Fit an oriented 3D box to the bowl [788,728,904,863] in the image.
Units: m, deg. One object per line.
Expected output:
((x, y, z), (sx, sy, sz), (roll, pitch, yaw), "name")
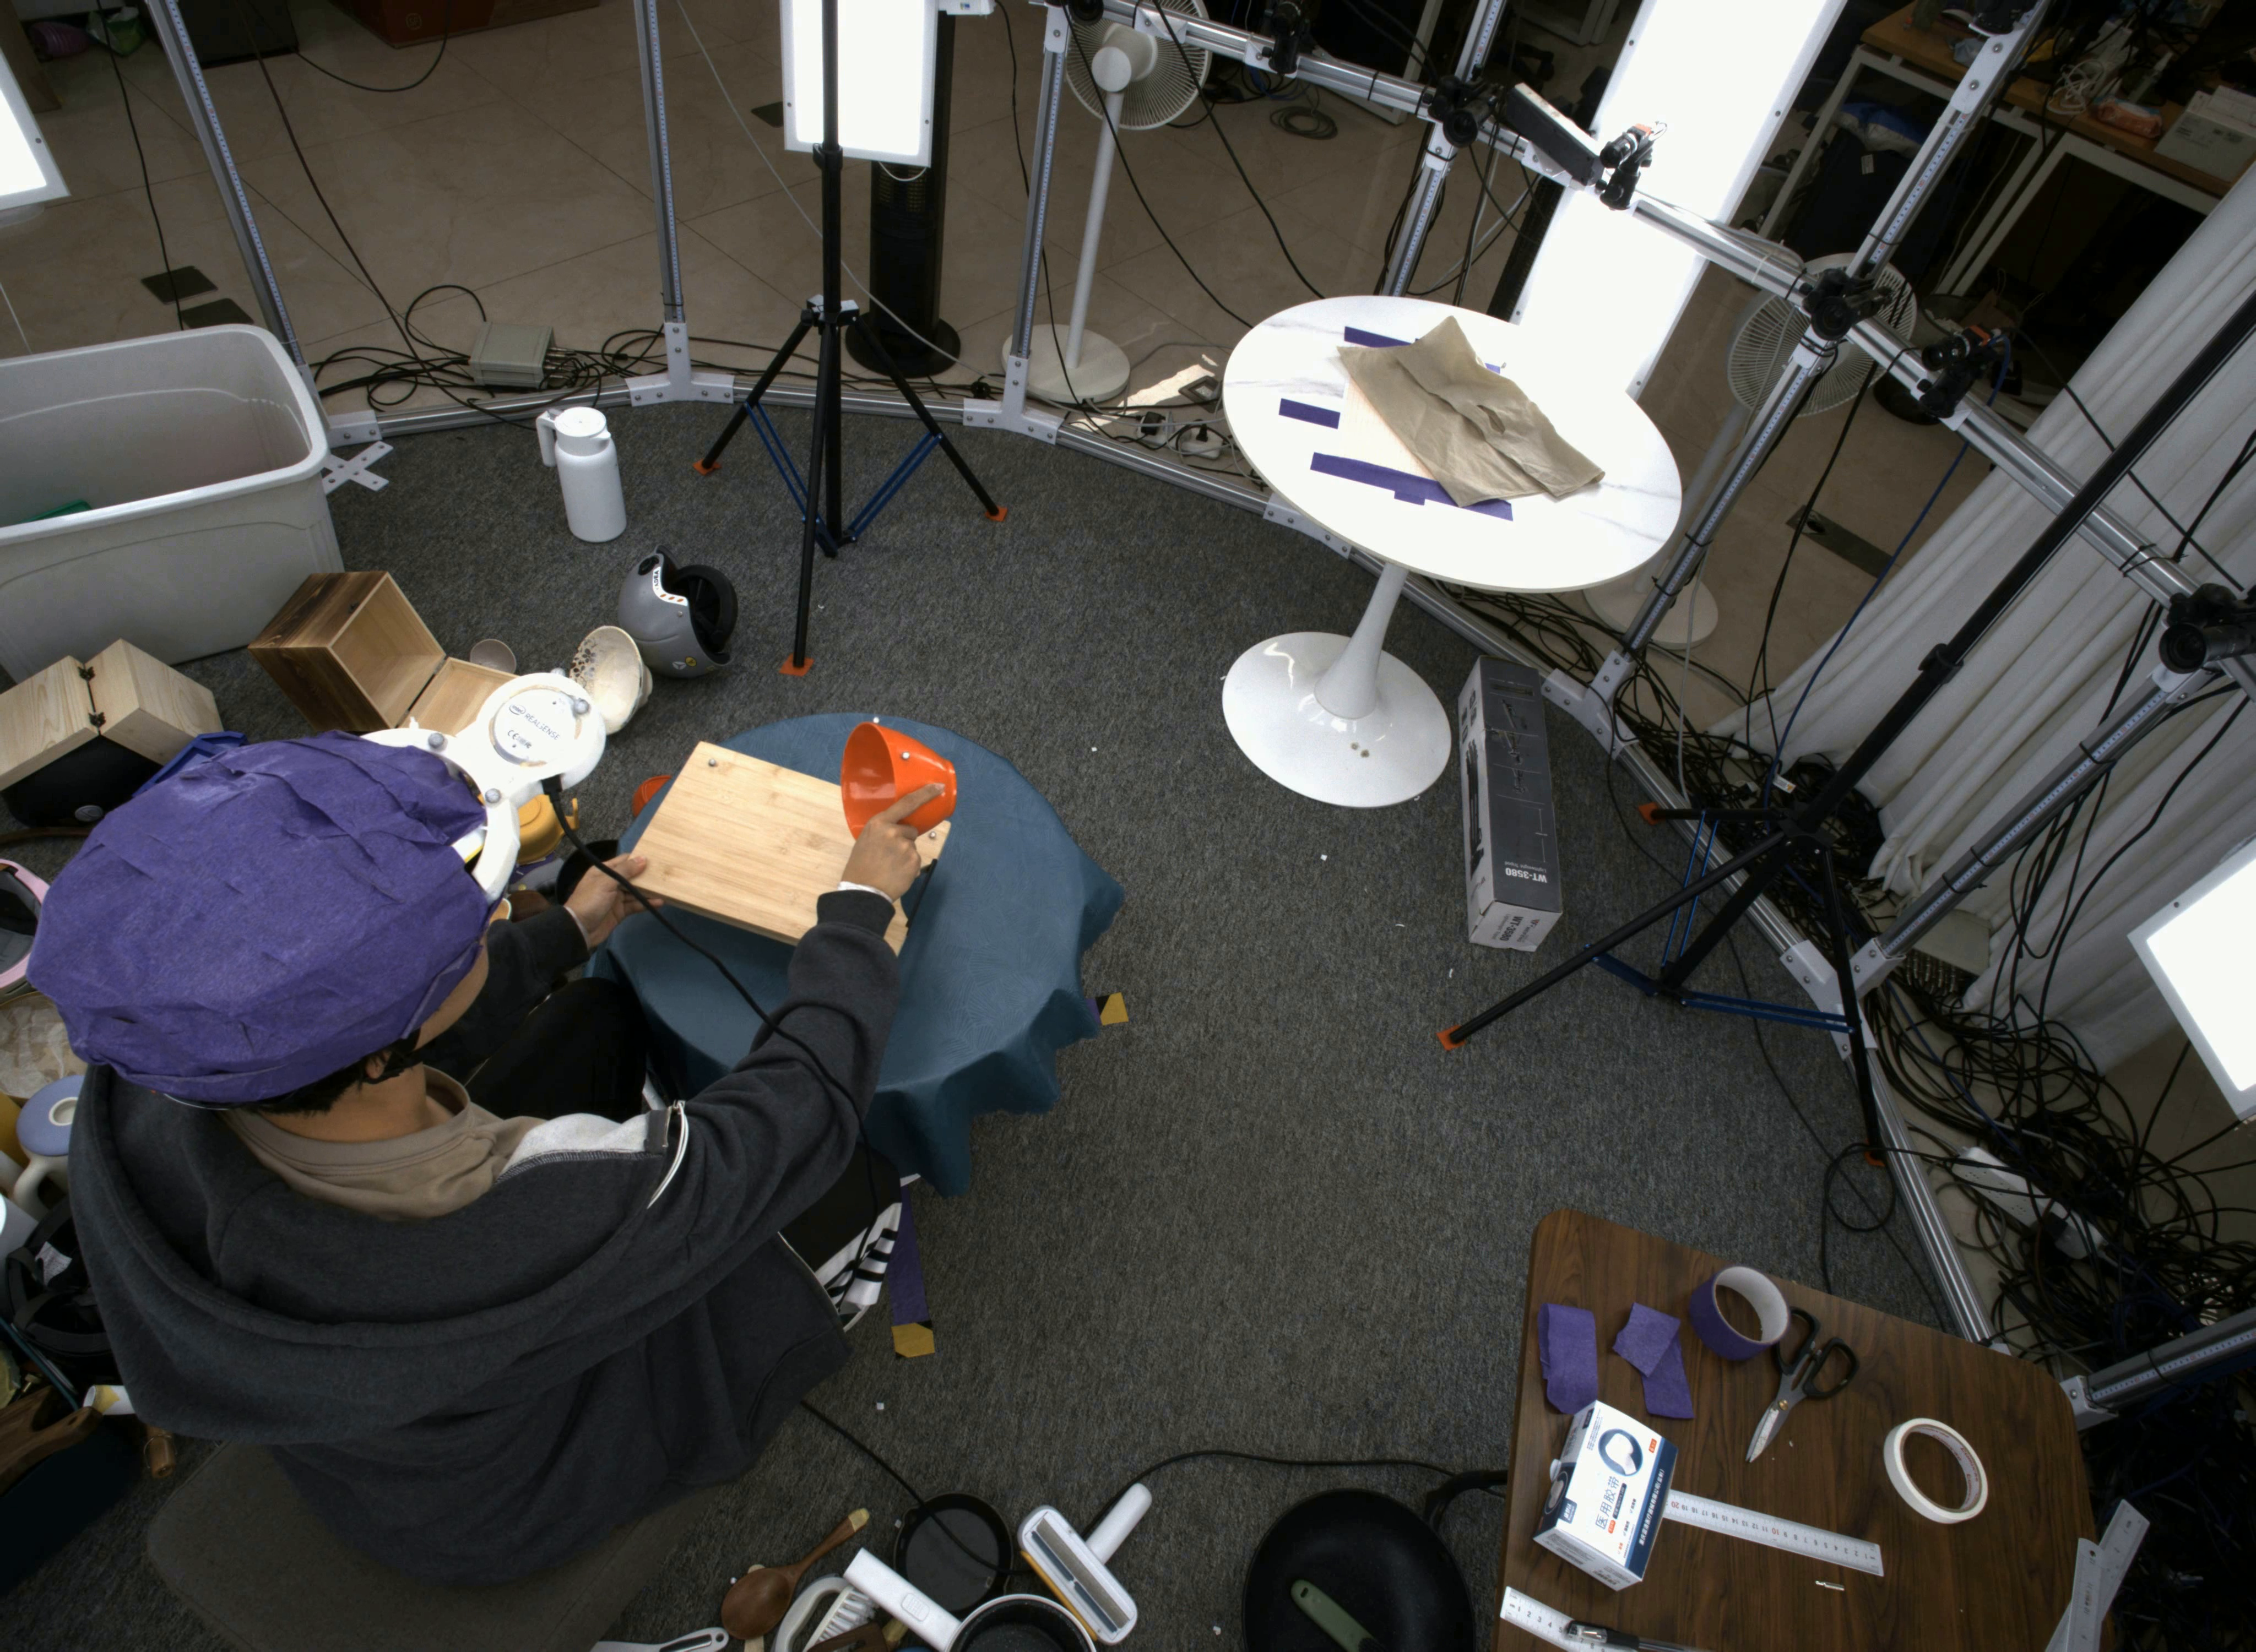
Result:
((-0.315, -0.036, 1.463), (0.106, 0.150, 0.144), (-3, 52, -29), "bowl")

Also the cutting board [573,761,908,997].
((-0.464, 0.057, 1.565), (0.348, 0.024, 0.247), (16, 50, -7), "cutting board")
